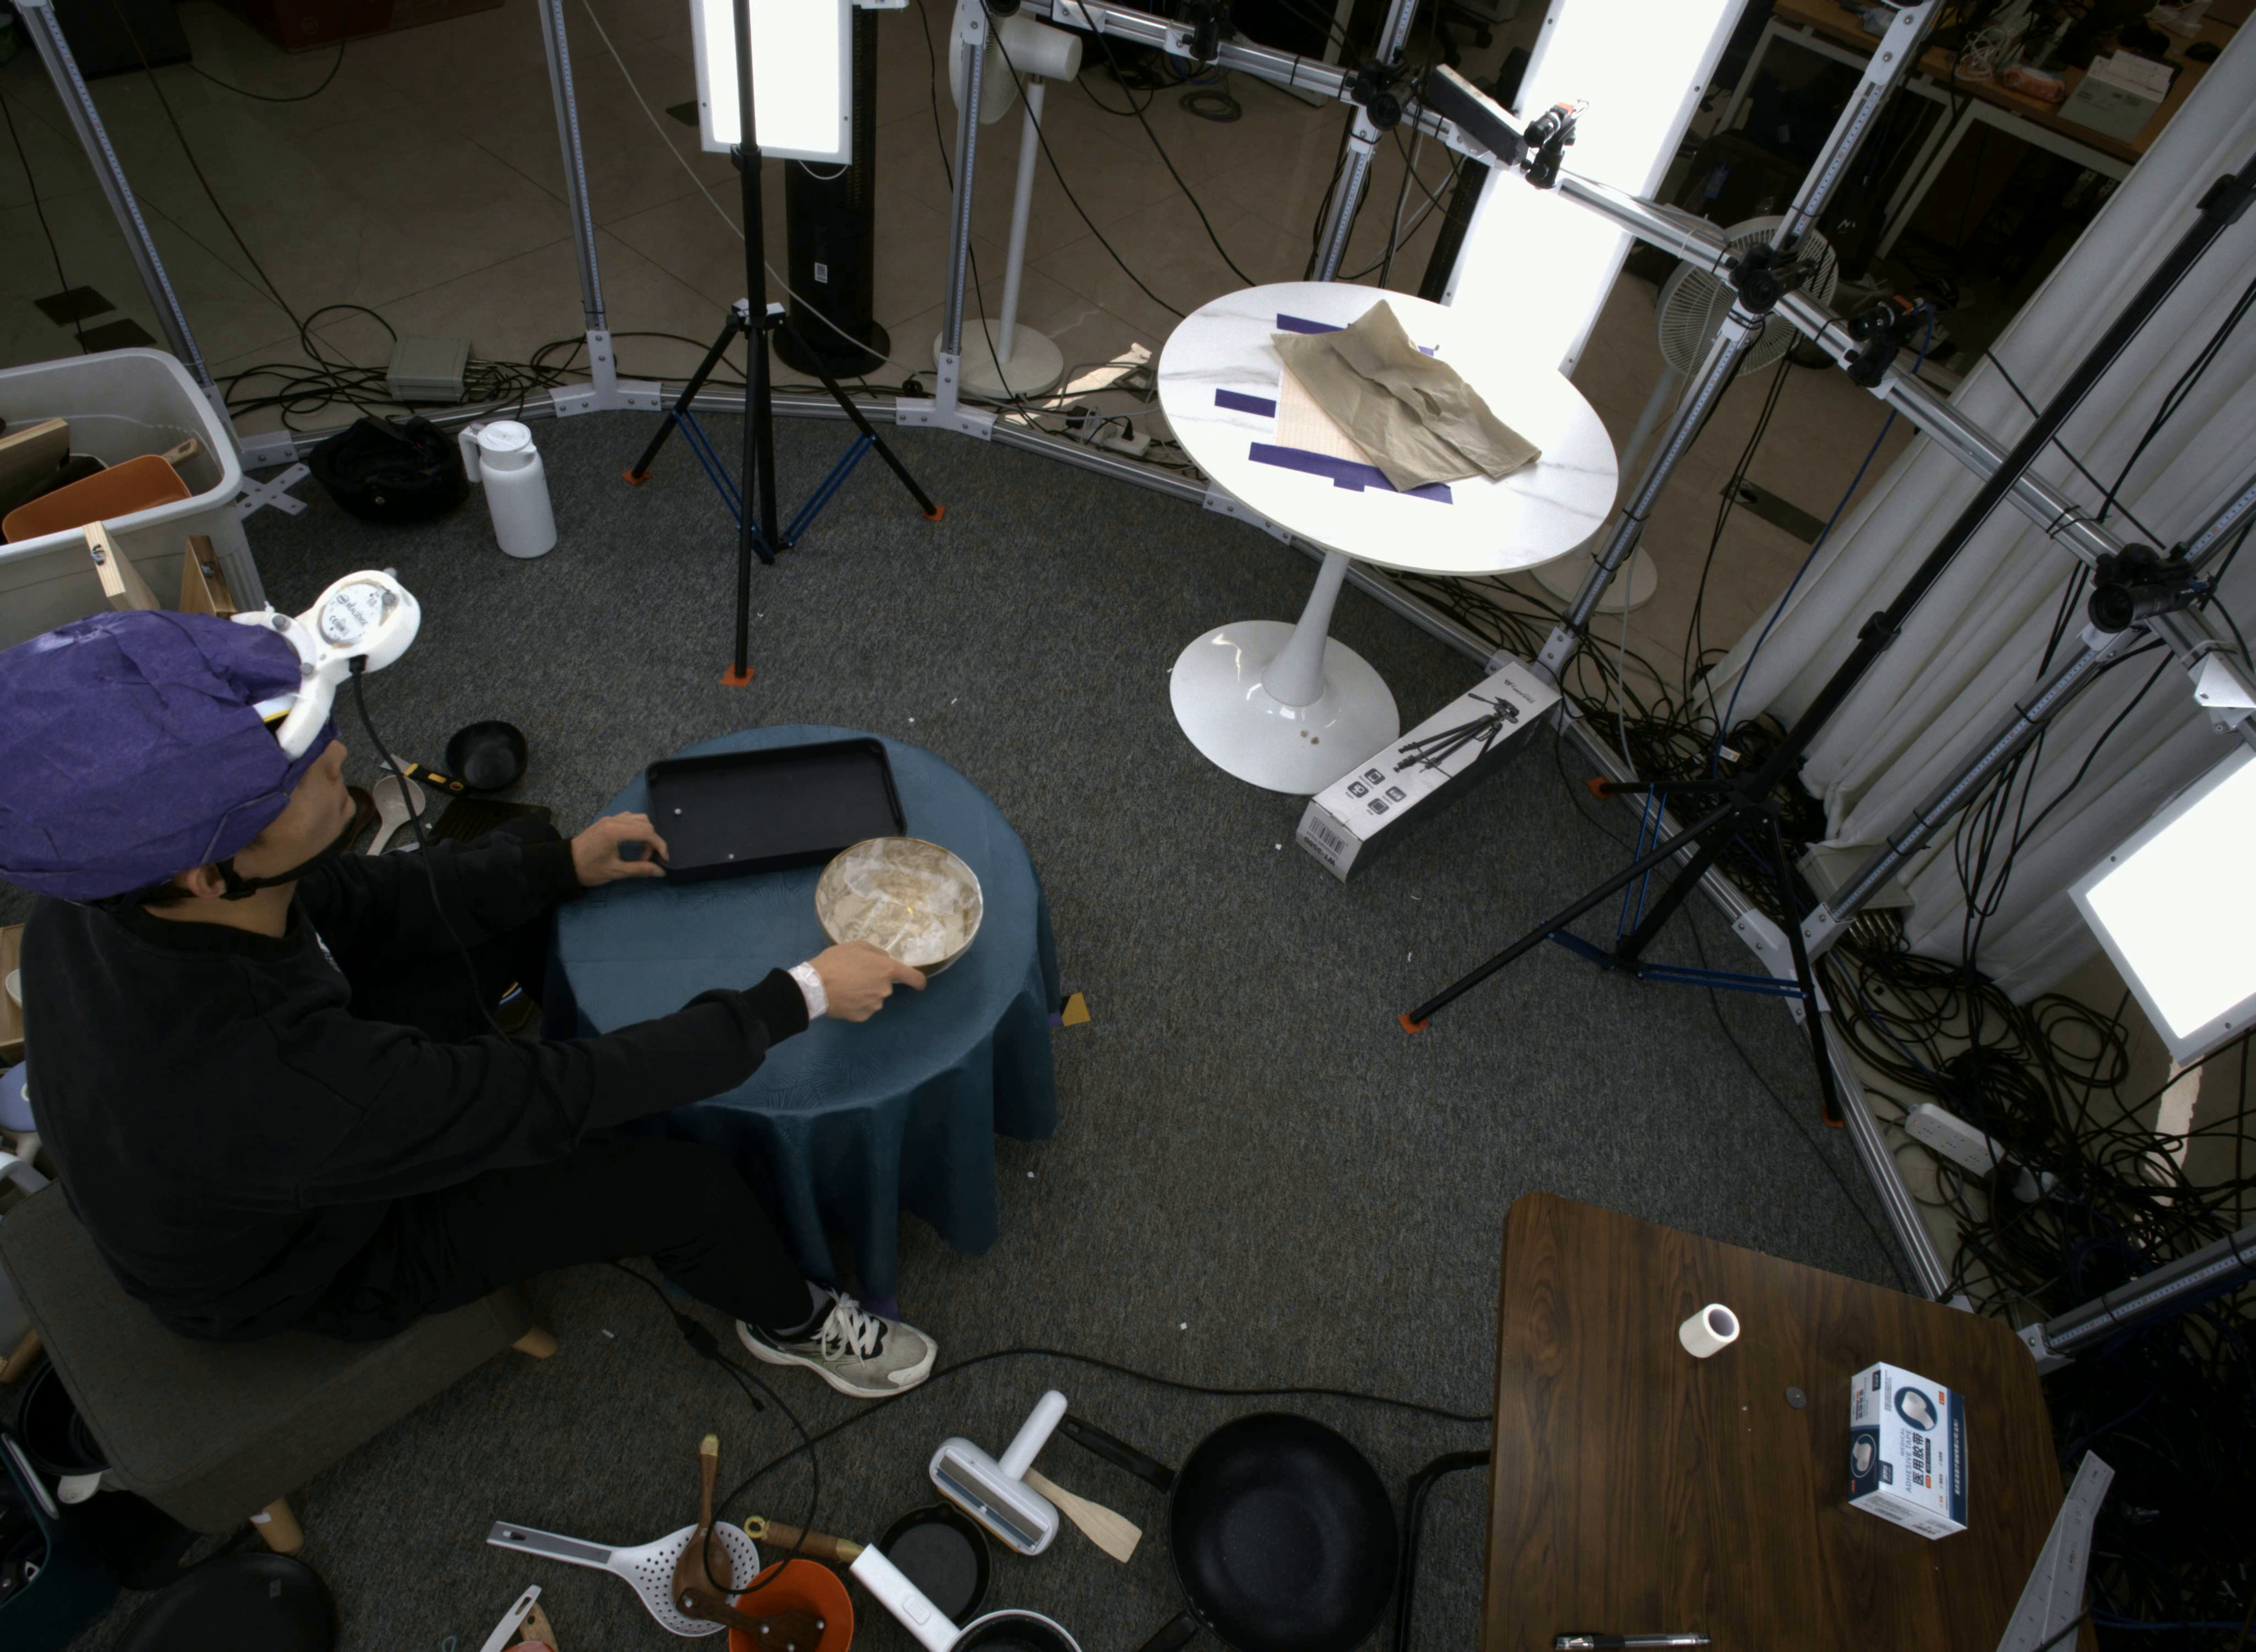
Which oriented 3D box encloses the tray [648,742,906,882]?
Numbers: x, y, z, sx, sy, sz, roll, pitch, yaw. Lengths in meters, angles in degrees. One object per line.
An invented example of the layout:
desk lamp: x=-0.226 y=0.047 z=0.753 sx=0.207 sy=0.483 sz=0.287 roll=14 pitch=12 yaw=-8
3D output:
tray: x=-0.464 y=-0.023 z=1.709 sx=0.320 sy=0.038 sz=0.179 roll=-5 pitch=54 yaw=-23

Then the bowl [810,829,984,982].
bowl: x=-0.287 y=0.112 z=1.609 sx=0.214 sy=0.096 sz=0.210 roll=9 pitch=50 yaw=-9
